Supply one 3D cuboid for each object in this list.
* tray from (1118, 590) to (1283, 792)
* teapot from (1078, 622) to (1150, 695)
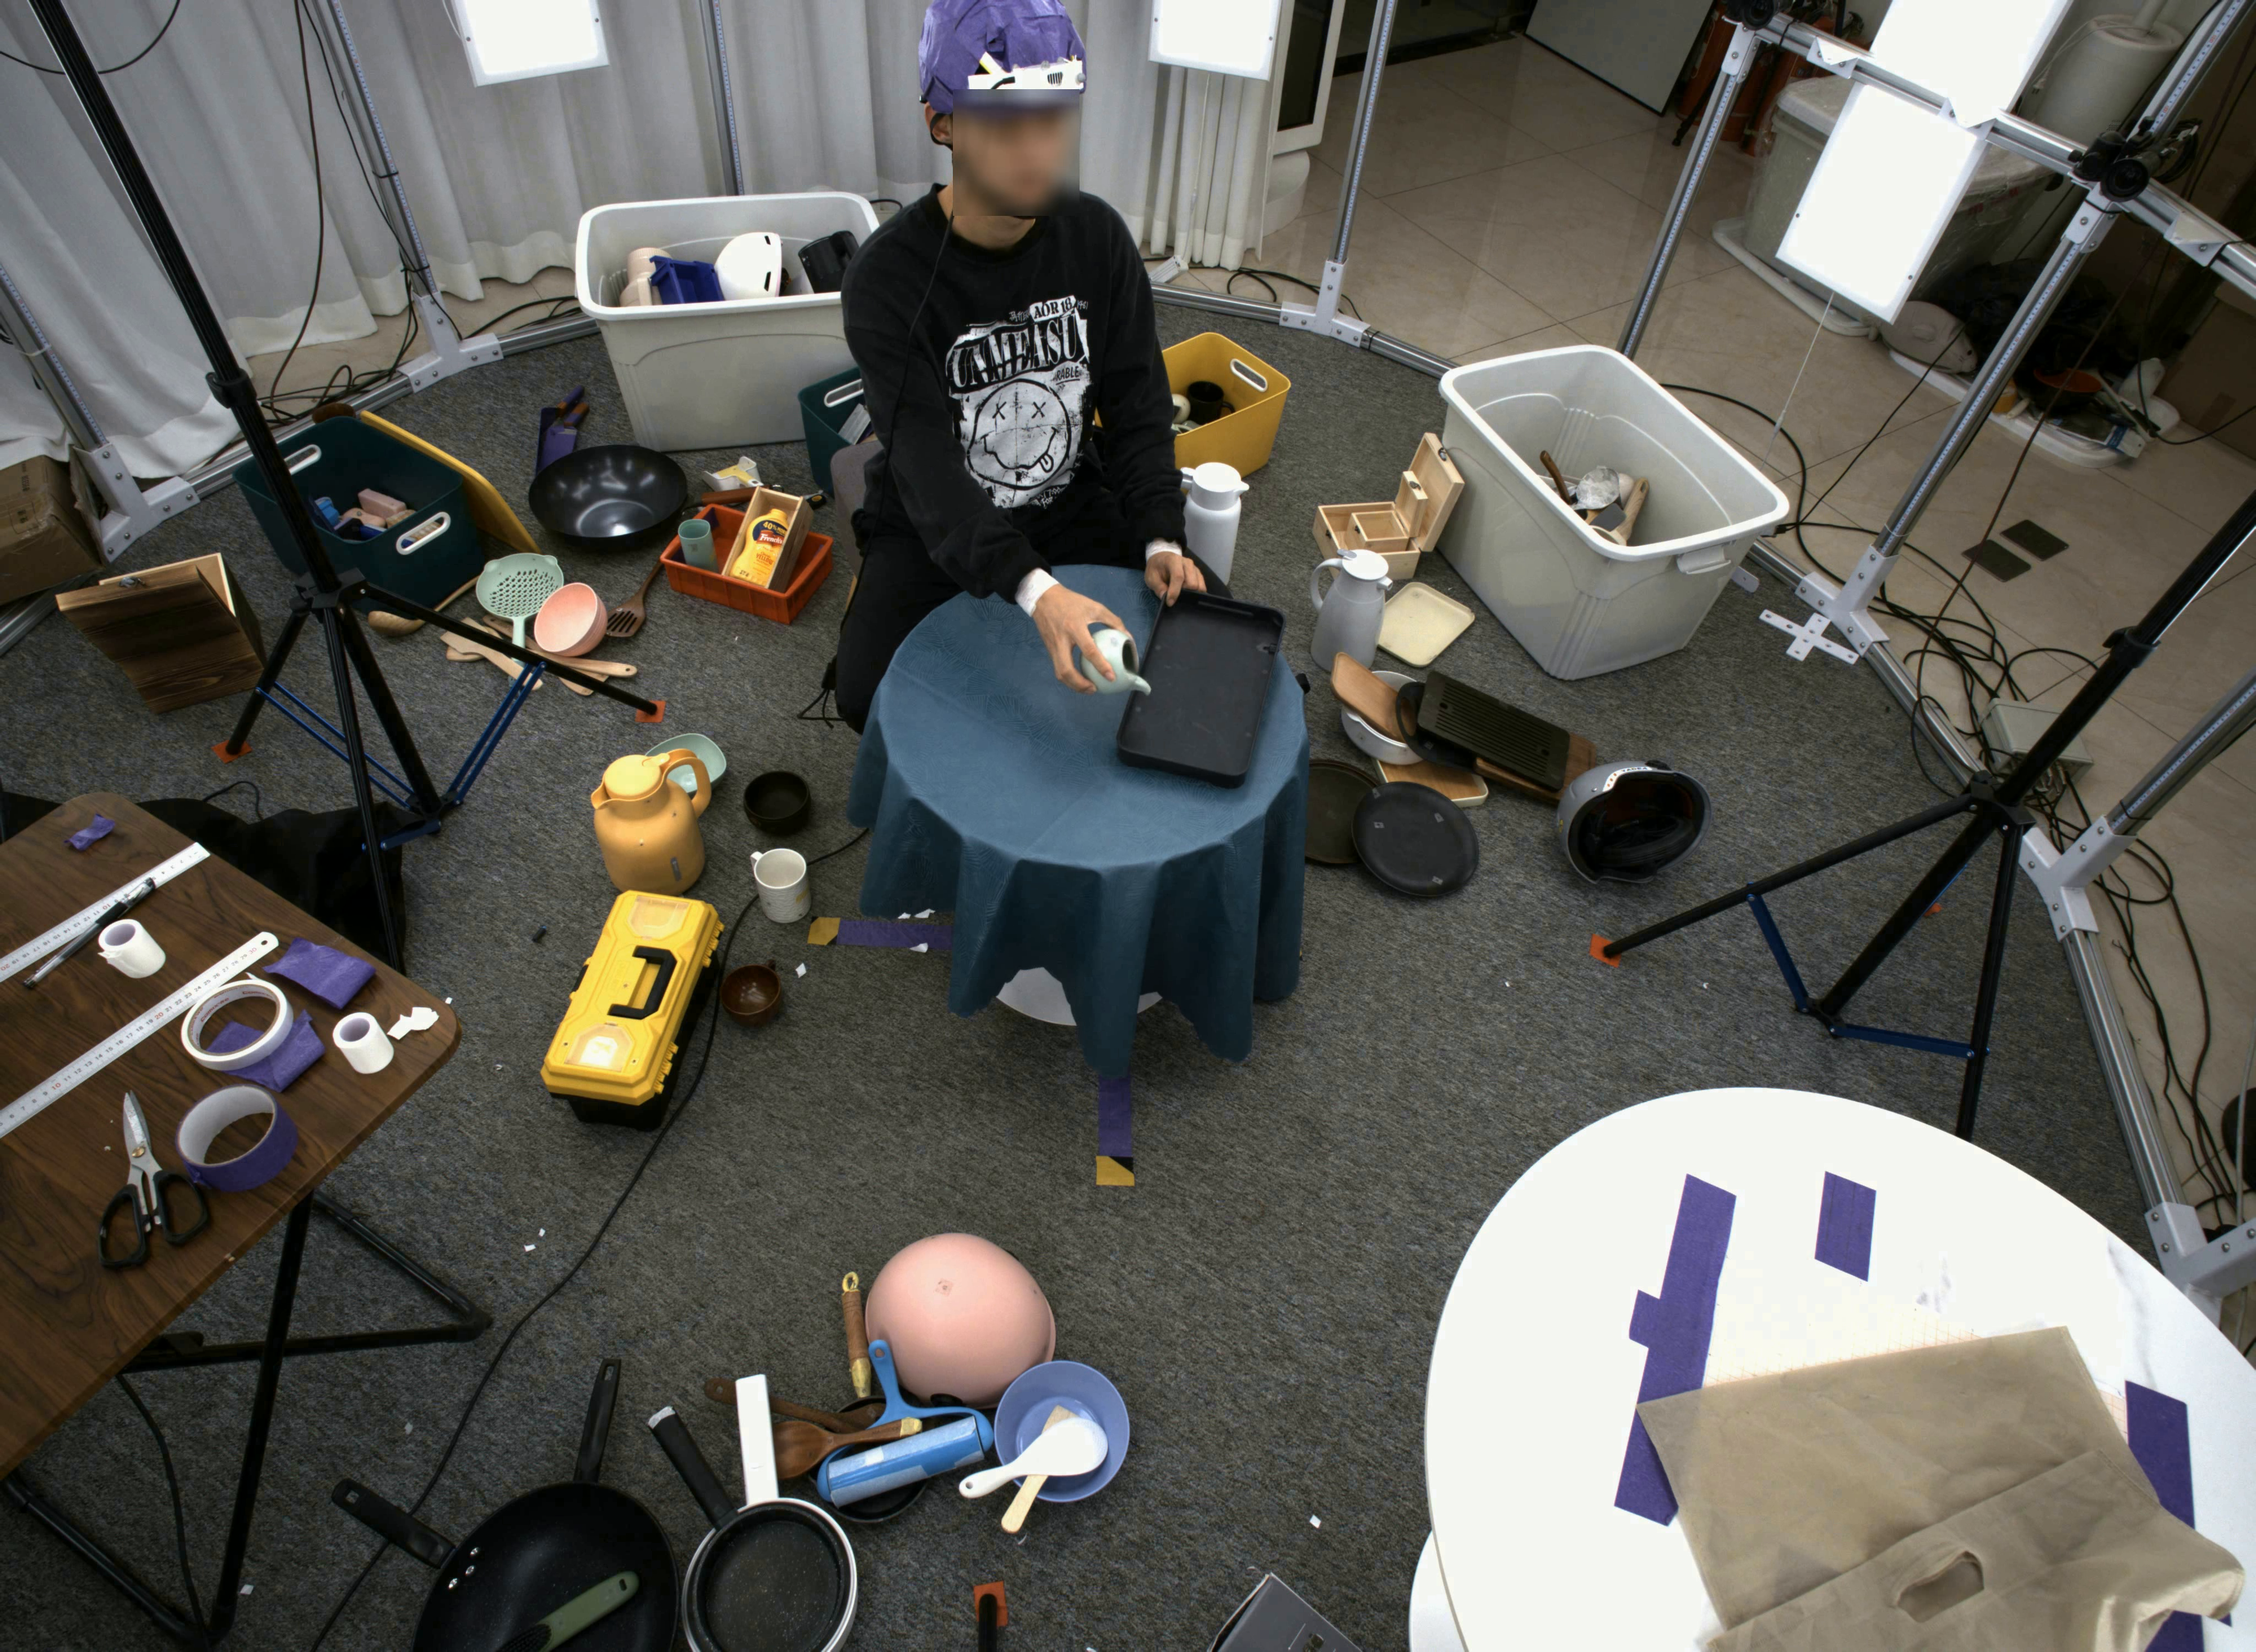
[{"bbox_3d":[0.104,-0.195,1.803,0.184,0.036,0.325,12,55,5],"label":"tray"},{"bbox_3d":[-0.024,-0.220,1.710,0.075,0.140,0.090,-4,52,22],"label":"teapot"}]
